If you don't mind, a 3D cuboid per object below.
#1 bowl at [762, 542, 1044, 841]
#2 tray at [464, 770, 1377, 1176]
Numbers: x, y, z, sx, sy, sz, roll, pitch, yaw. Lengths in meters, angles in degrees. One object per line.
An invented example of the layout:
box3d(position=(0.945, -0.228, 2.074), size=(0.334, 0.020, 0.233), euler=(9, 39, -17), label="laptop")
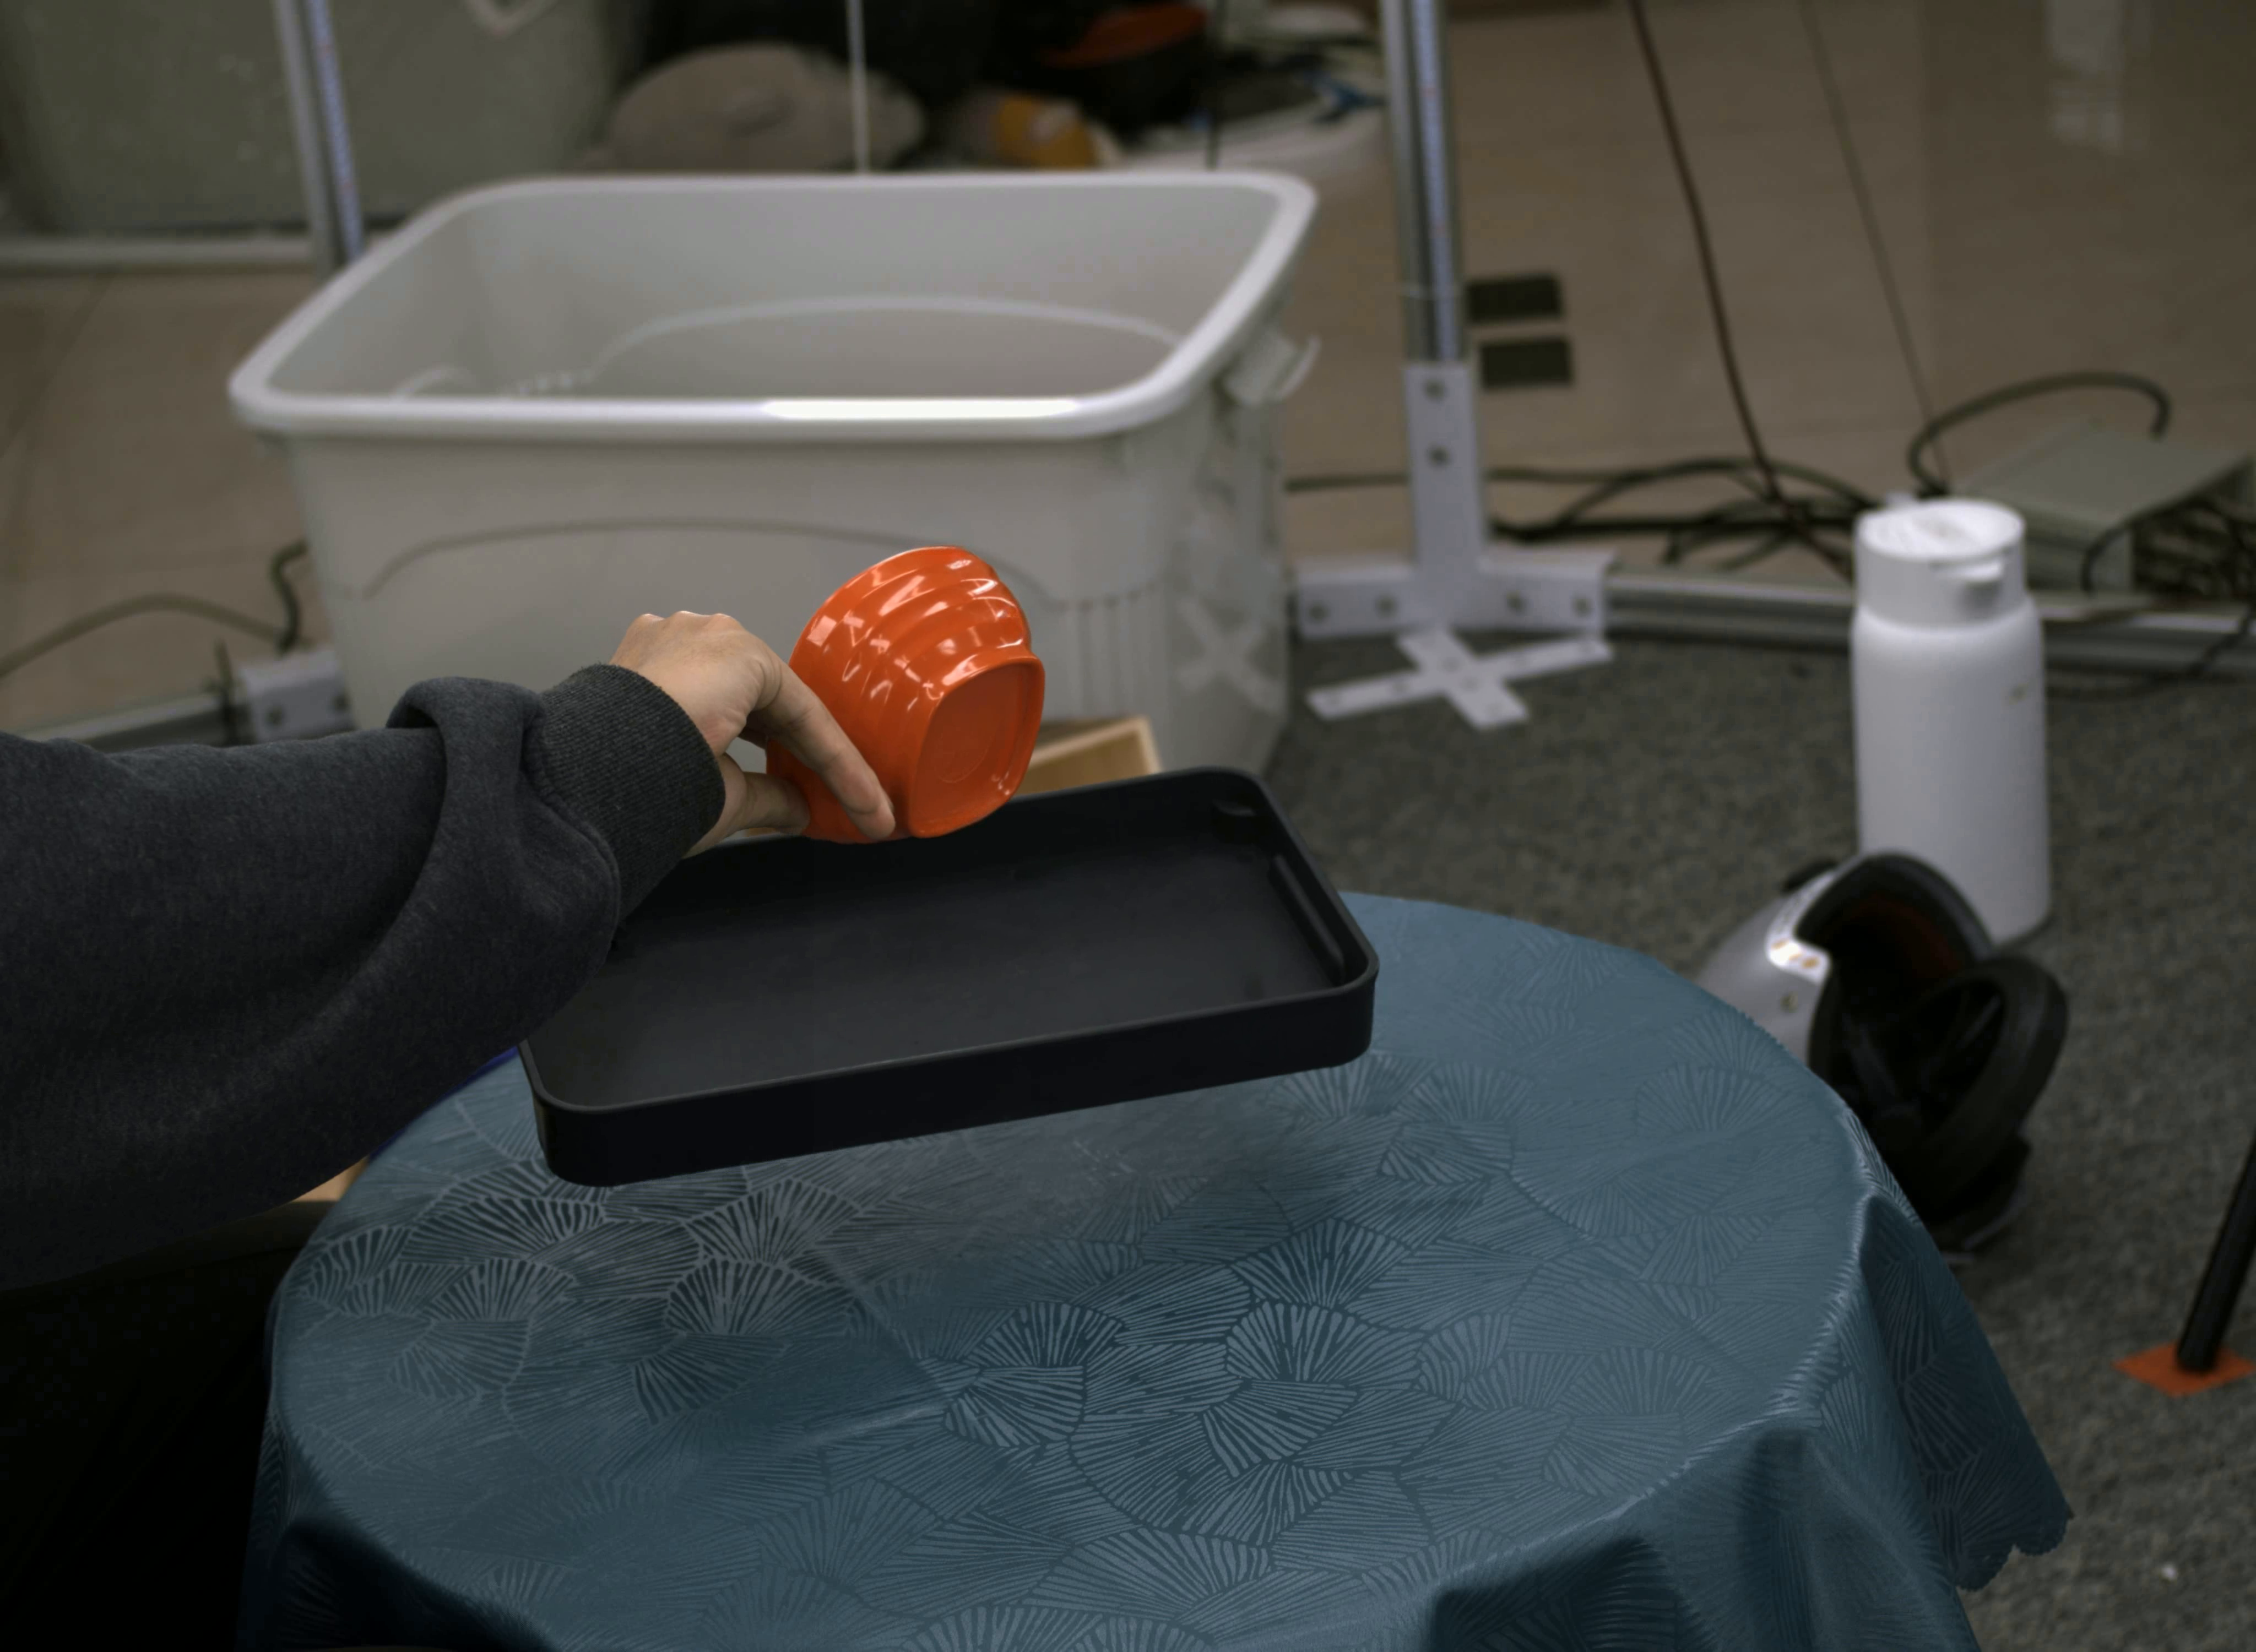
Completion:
box3d(position=(-0.072, -0.039, 1.992), size=(0.051, 0.121, 0.118), euler=(33, 43, 30), label="bowl")
box3d(position=(-0.080, 0.052, 2.126), size=(0.317, 0.037, 0.181), euler=(-8, 30, -14), label="tray")
